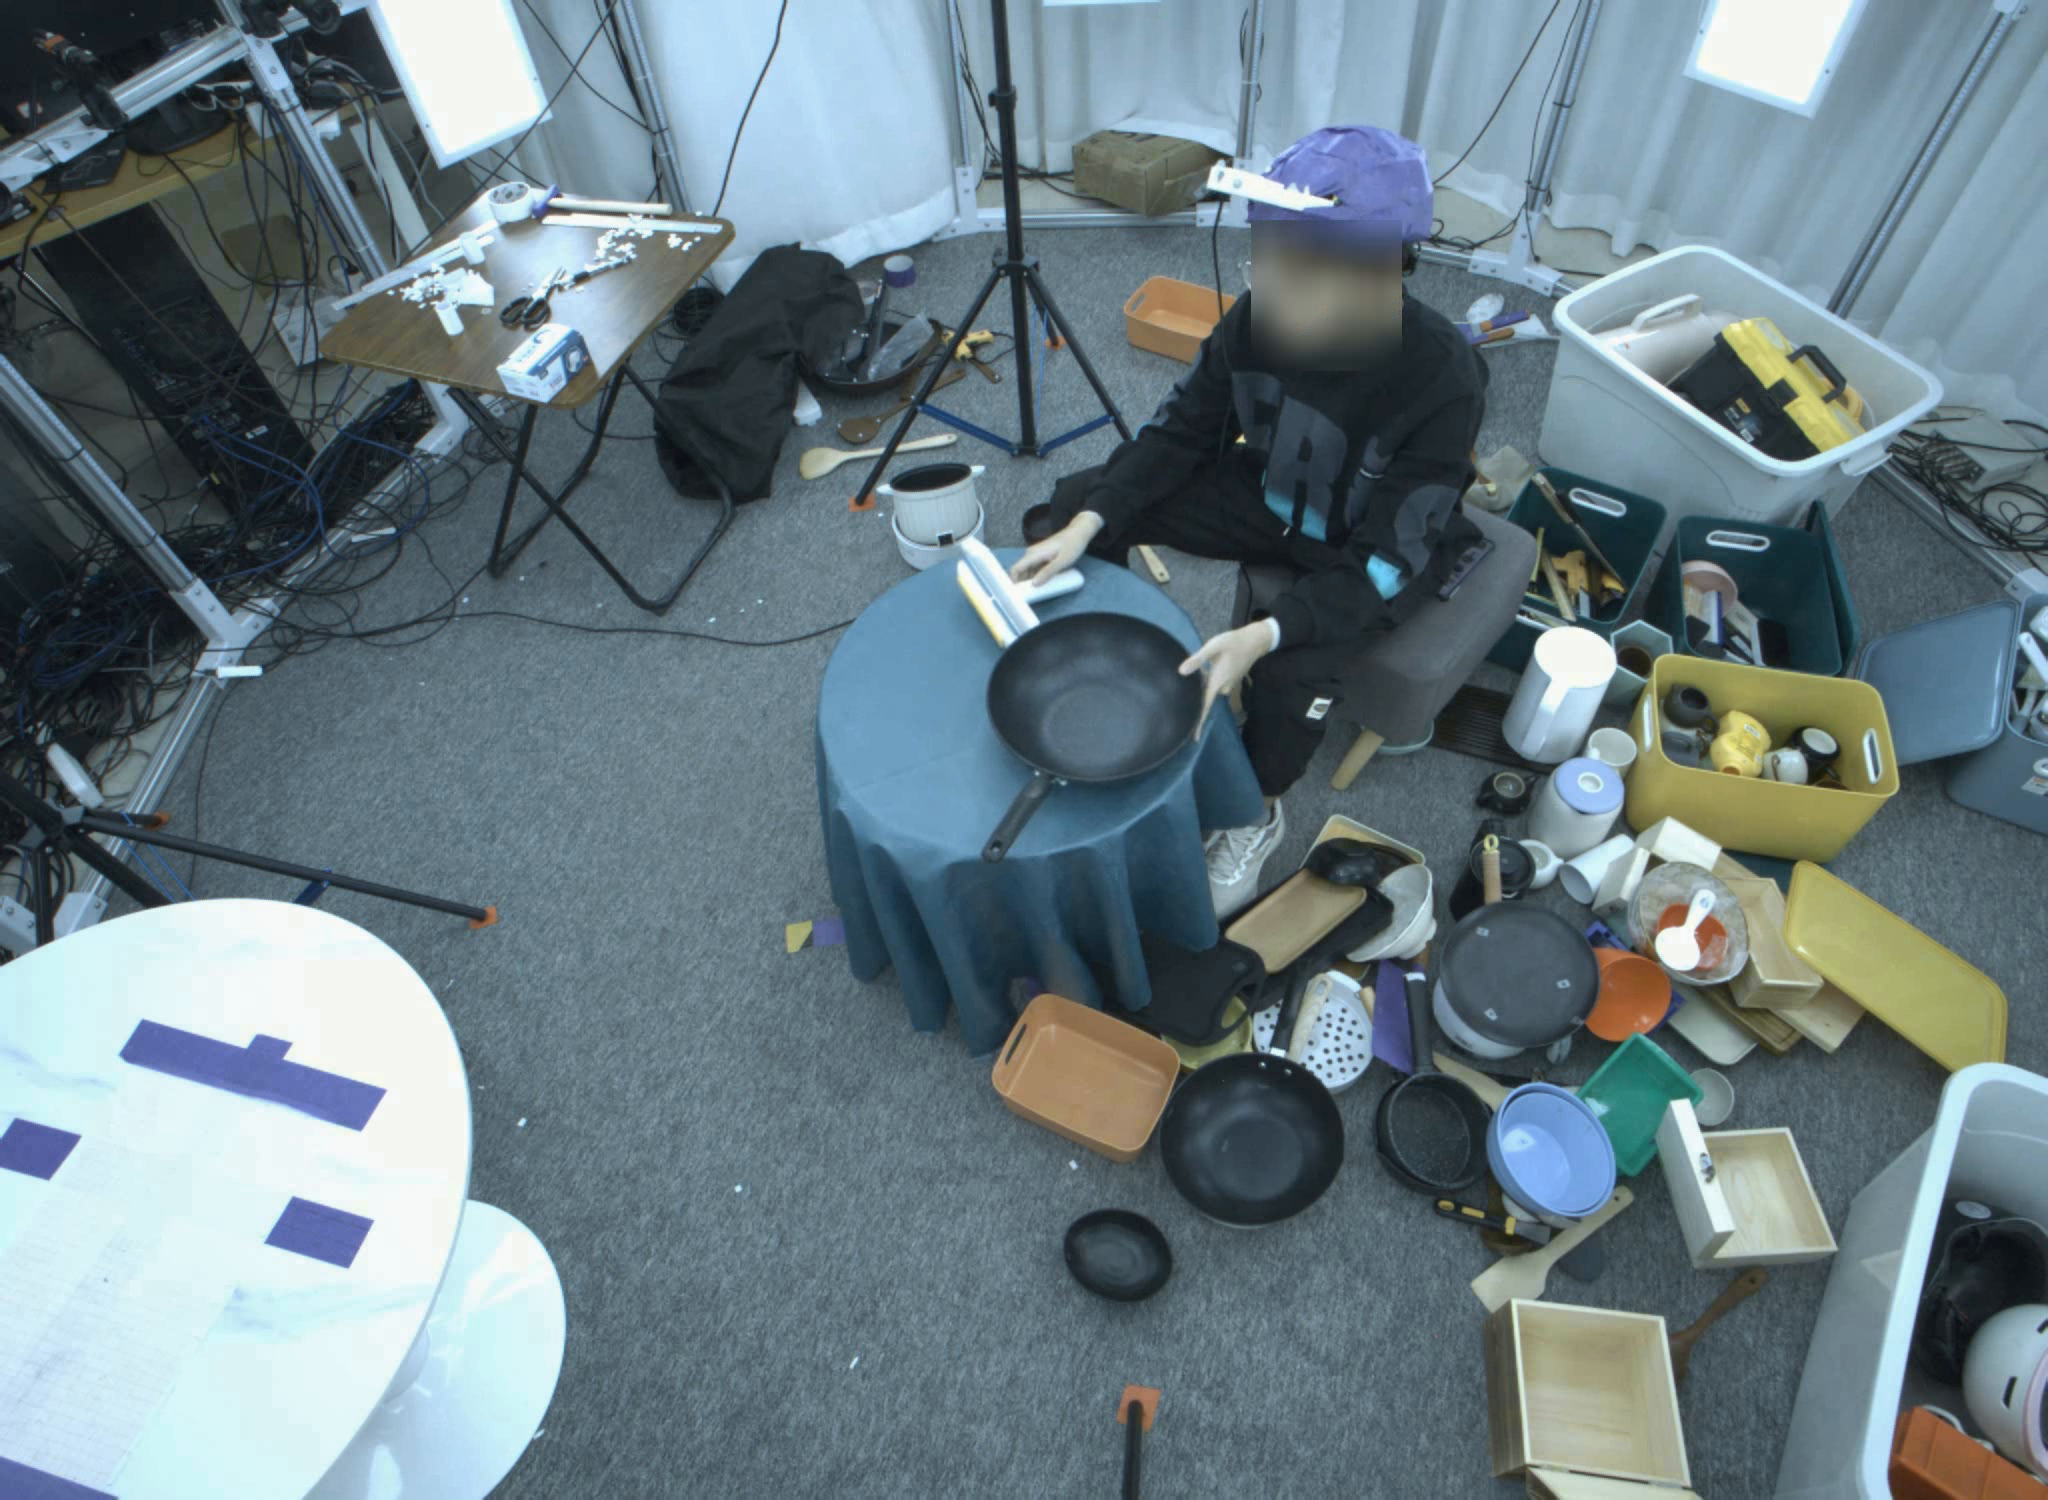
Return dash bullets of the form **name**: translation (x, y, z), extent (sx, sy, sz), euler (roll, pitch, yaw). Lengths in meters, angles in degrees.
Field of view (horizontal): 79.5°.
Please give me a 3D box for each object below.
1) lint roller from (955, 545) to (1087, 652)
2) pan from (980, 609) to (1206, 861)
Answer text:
- **lint roller**: translation (0.010, -0.252, 1.920), extent (0.194, 0.075, 0.190), euler (-23, 62, -15)
- **pan**: translation (0.067, -0.008, 1.720), extent (0.306, 0.113, 0.477), euler (20, 57, 18)
